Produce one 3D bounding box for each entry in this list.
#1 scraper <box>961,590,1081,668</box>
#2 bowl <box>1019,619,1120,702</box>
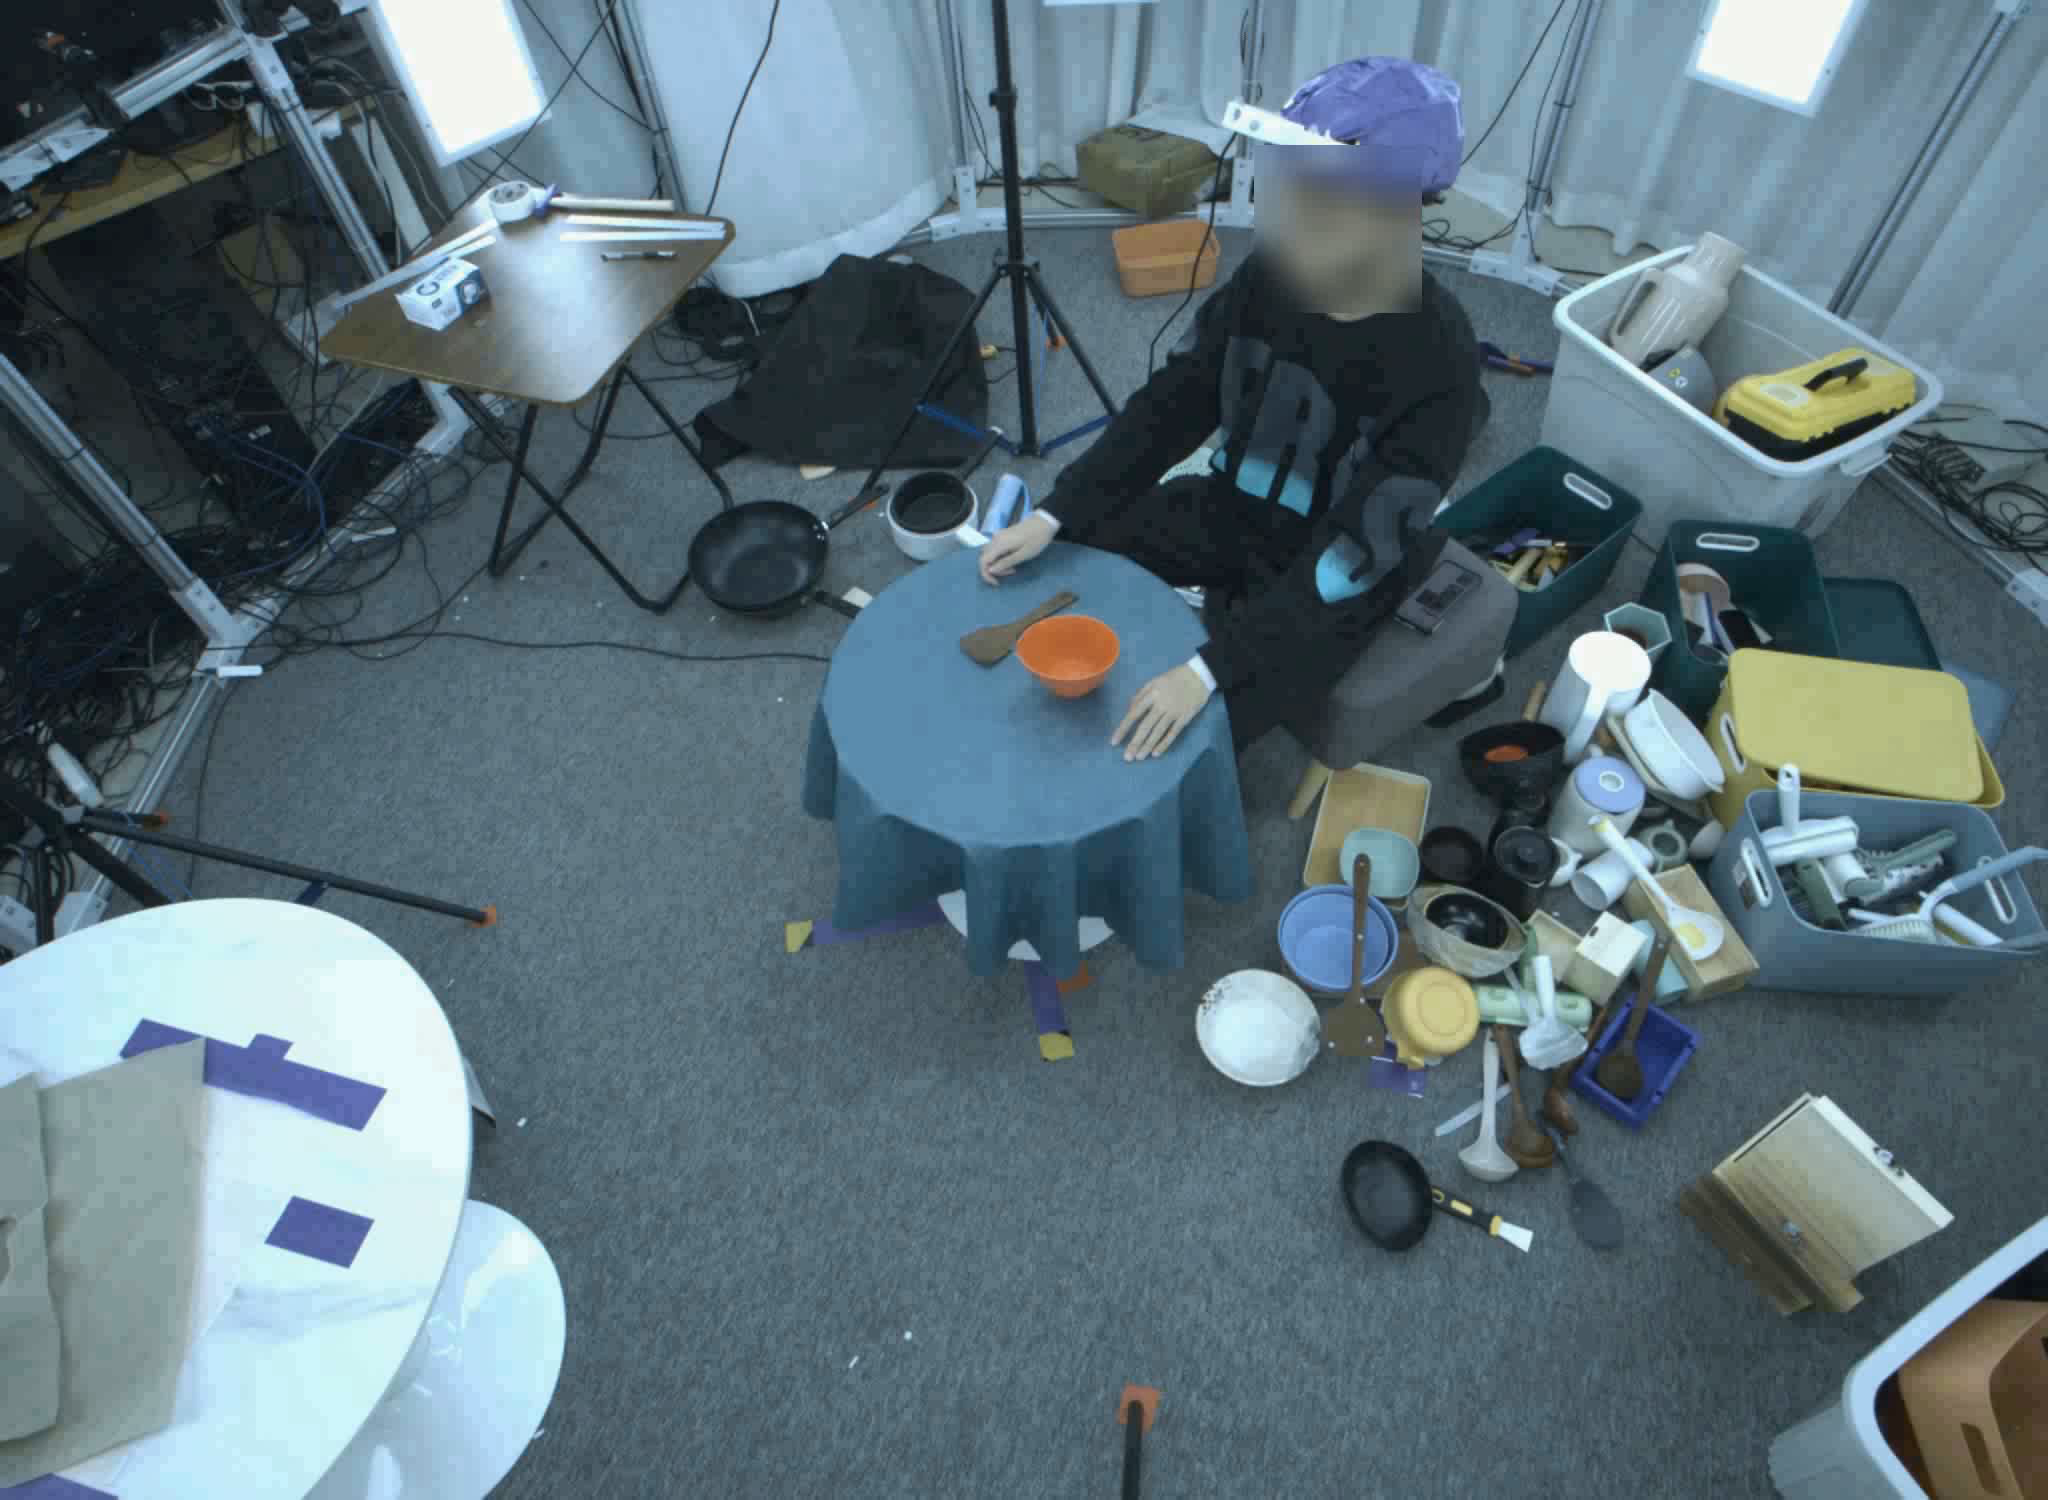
[{"bbox_3d":[0.002,-0.196,1.931,0.213,0.011,0.074,-33,62,-20],"label":"scraper"},{"bbox_3d":[0.068,-0.120,1.820,0.148,0.106,0.146,-1,53,2],"label":"bowl"}]
